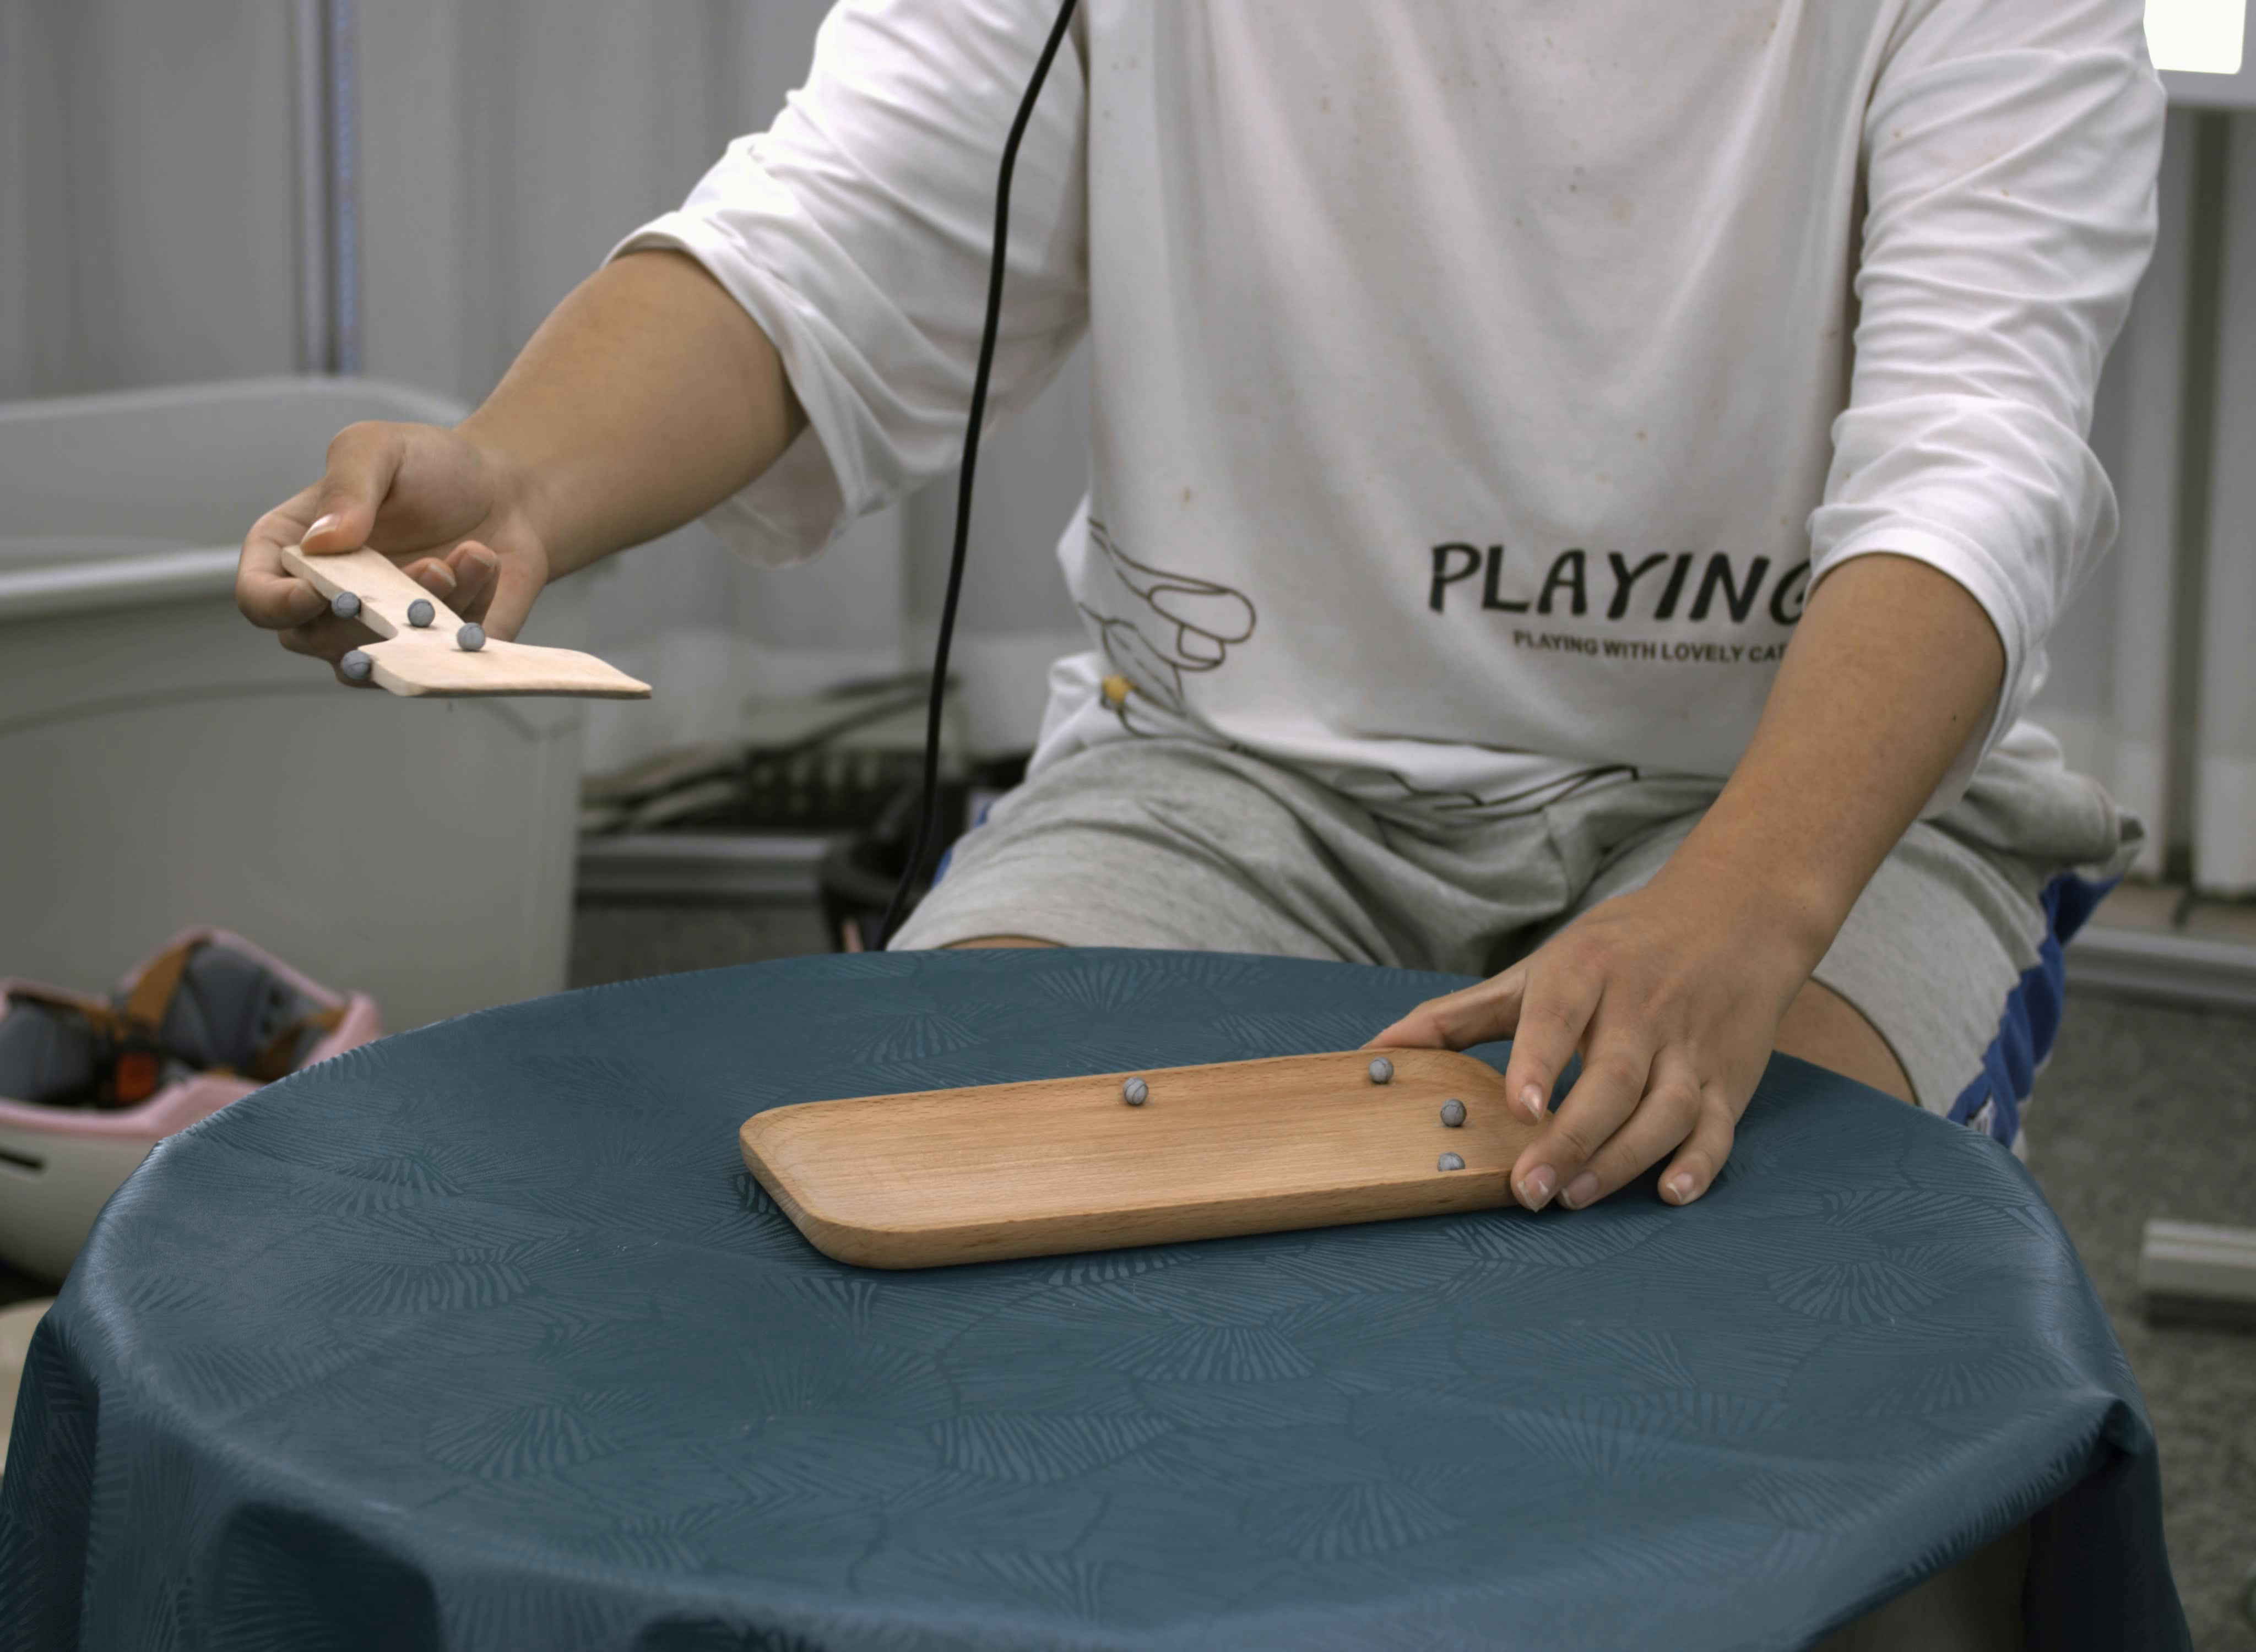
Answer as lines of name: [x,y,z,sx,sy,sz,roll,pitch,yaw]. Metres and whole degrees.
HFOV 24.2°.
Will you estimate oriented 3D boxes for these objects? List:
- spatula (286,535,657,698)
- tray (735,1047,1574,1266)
spatula: [-0.216,-0.064,1.607,0.072,0.011,0.290,0,11,-21]
tray: [0.008,0.102,1.640,0.251,0.023,0.129,-5,14,-18]
